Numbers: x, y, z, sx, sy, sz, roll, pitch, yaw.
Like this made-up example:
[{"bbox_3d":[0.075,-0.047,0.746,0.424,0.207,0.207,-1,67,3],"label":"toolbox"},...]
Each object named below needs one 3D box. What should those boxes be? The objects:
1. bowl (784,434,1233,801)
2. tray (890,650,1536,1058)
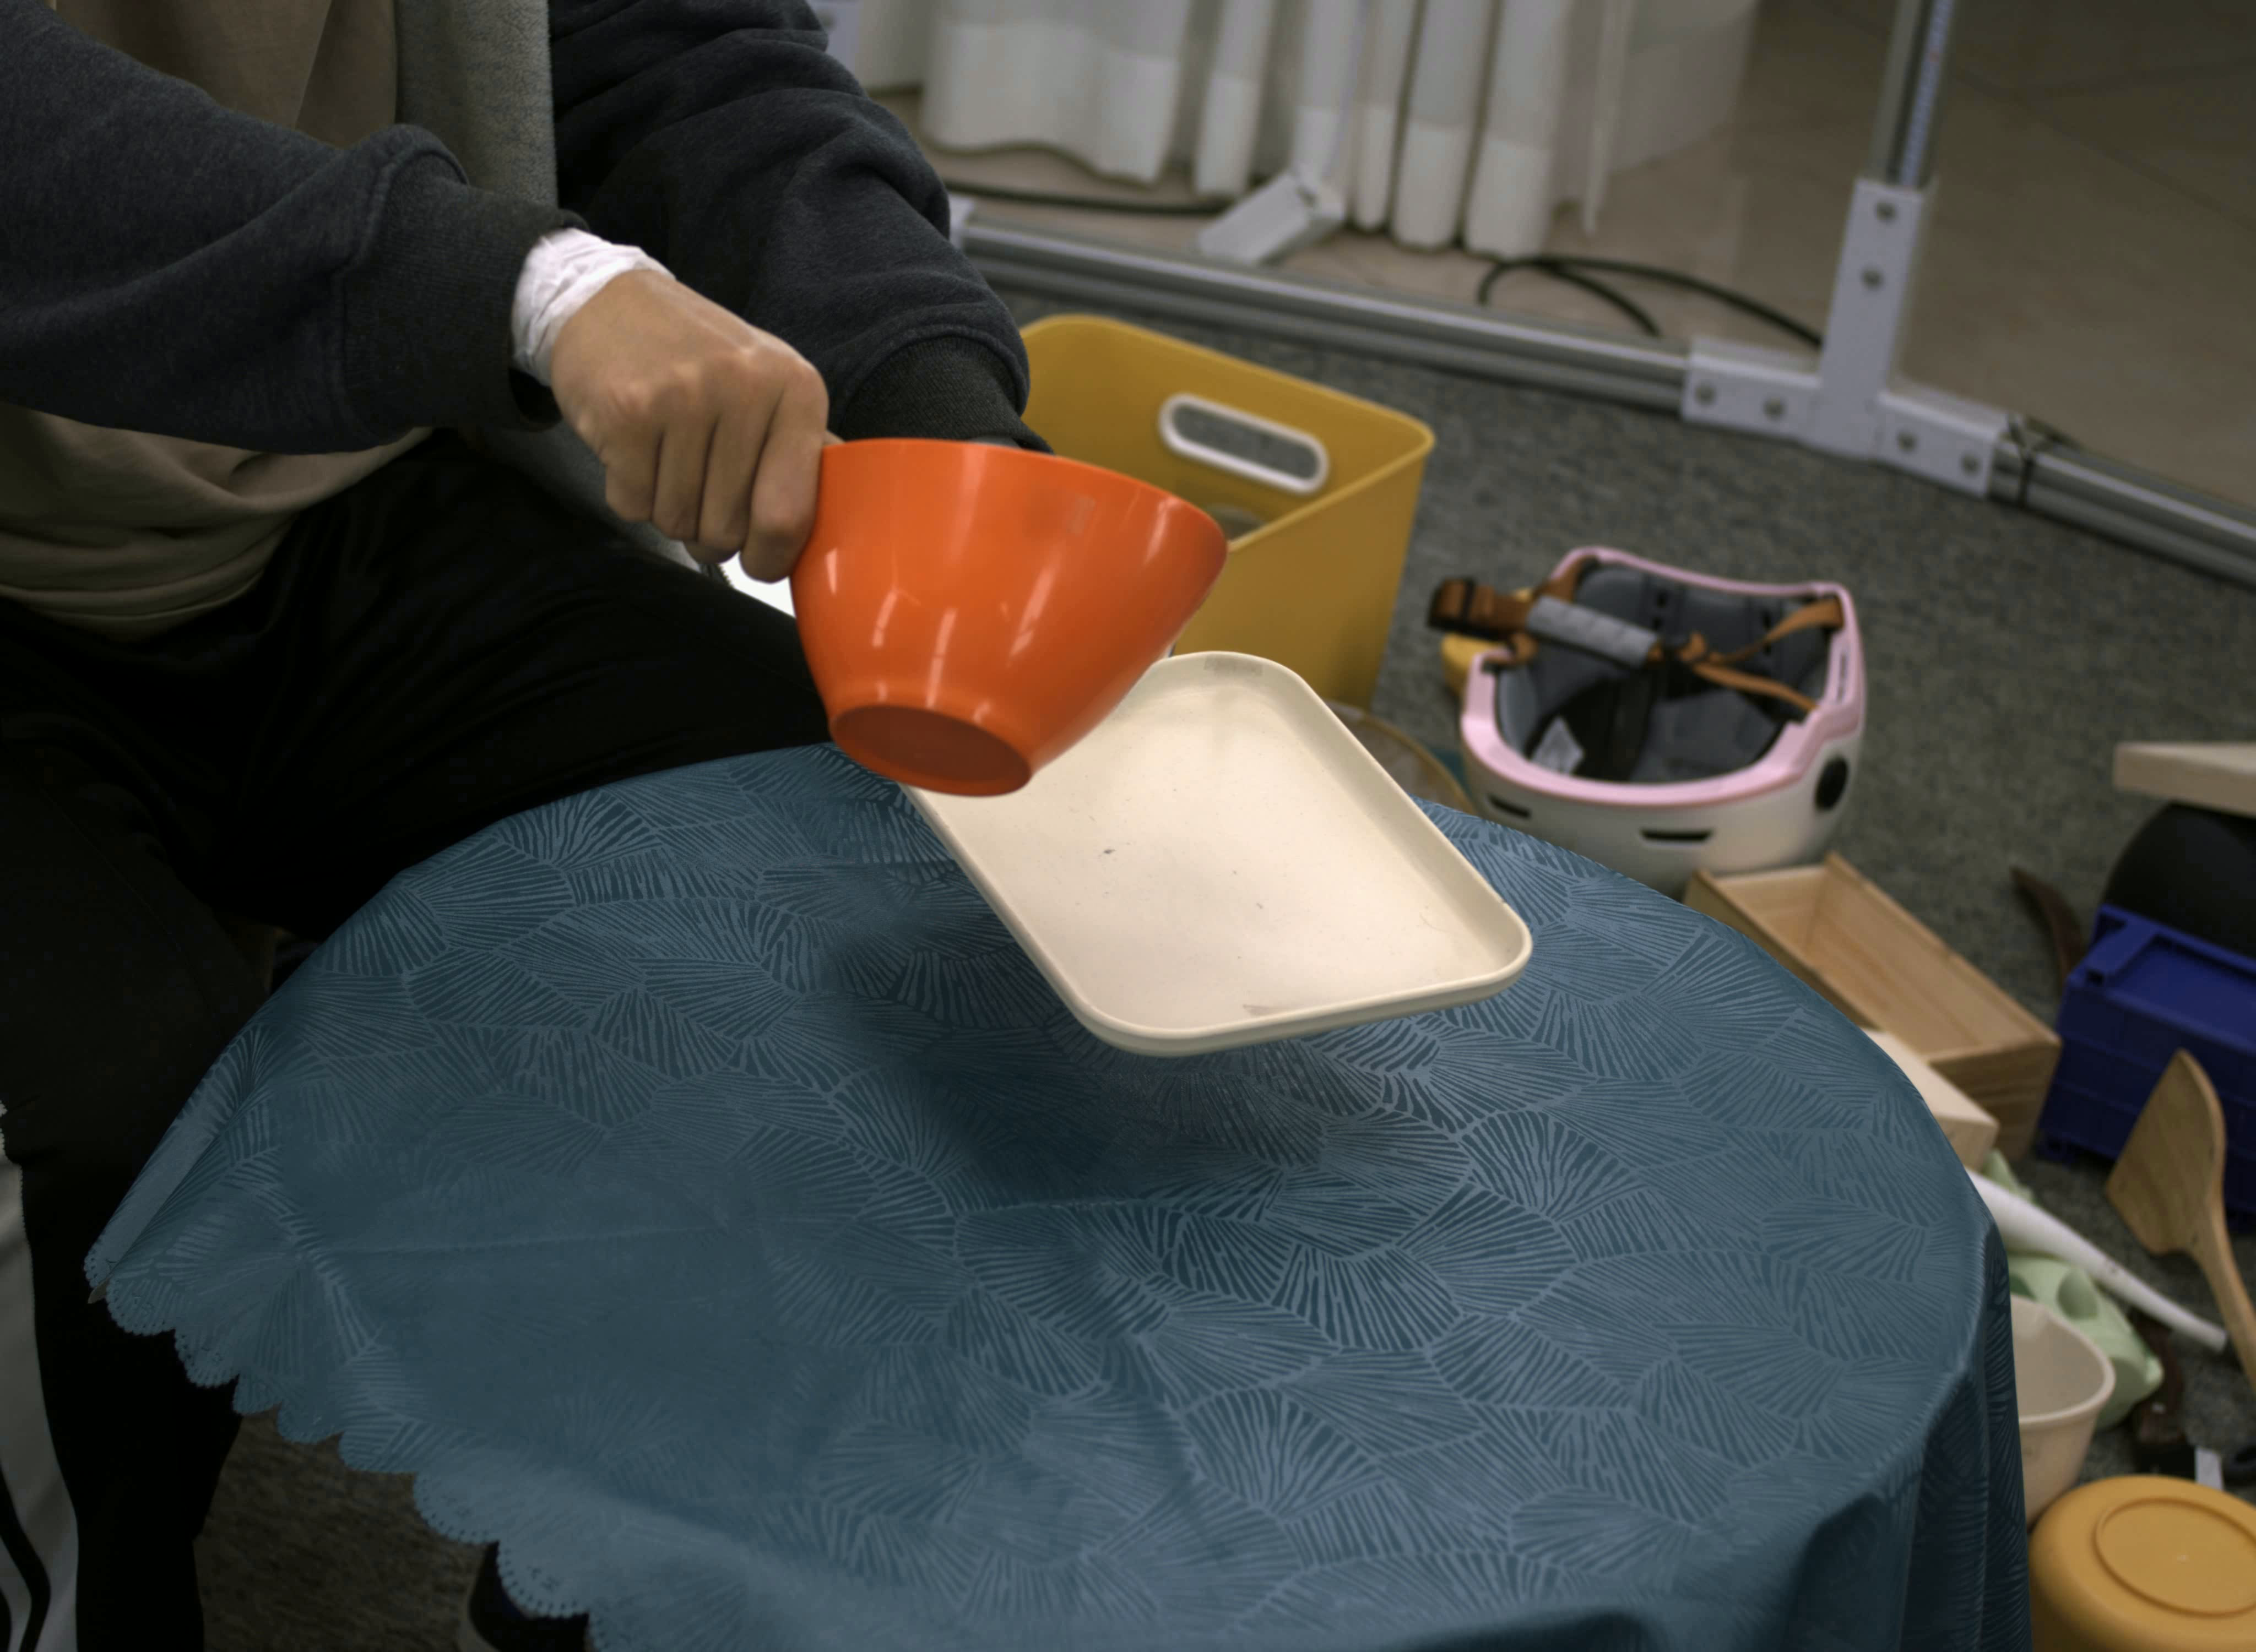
[{"bbox_3d":[-0.048,-0.063,1.718,0.148,0.147,0.105,12,67,9],"label":"bowl"},{"bbox_3d":[0.024,0.008,1.874,0.170,0.017,0.242,-10,33,-22],"label":"tray"}]
